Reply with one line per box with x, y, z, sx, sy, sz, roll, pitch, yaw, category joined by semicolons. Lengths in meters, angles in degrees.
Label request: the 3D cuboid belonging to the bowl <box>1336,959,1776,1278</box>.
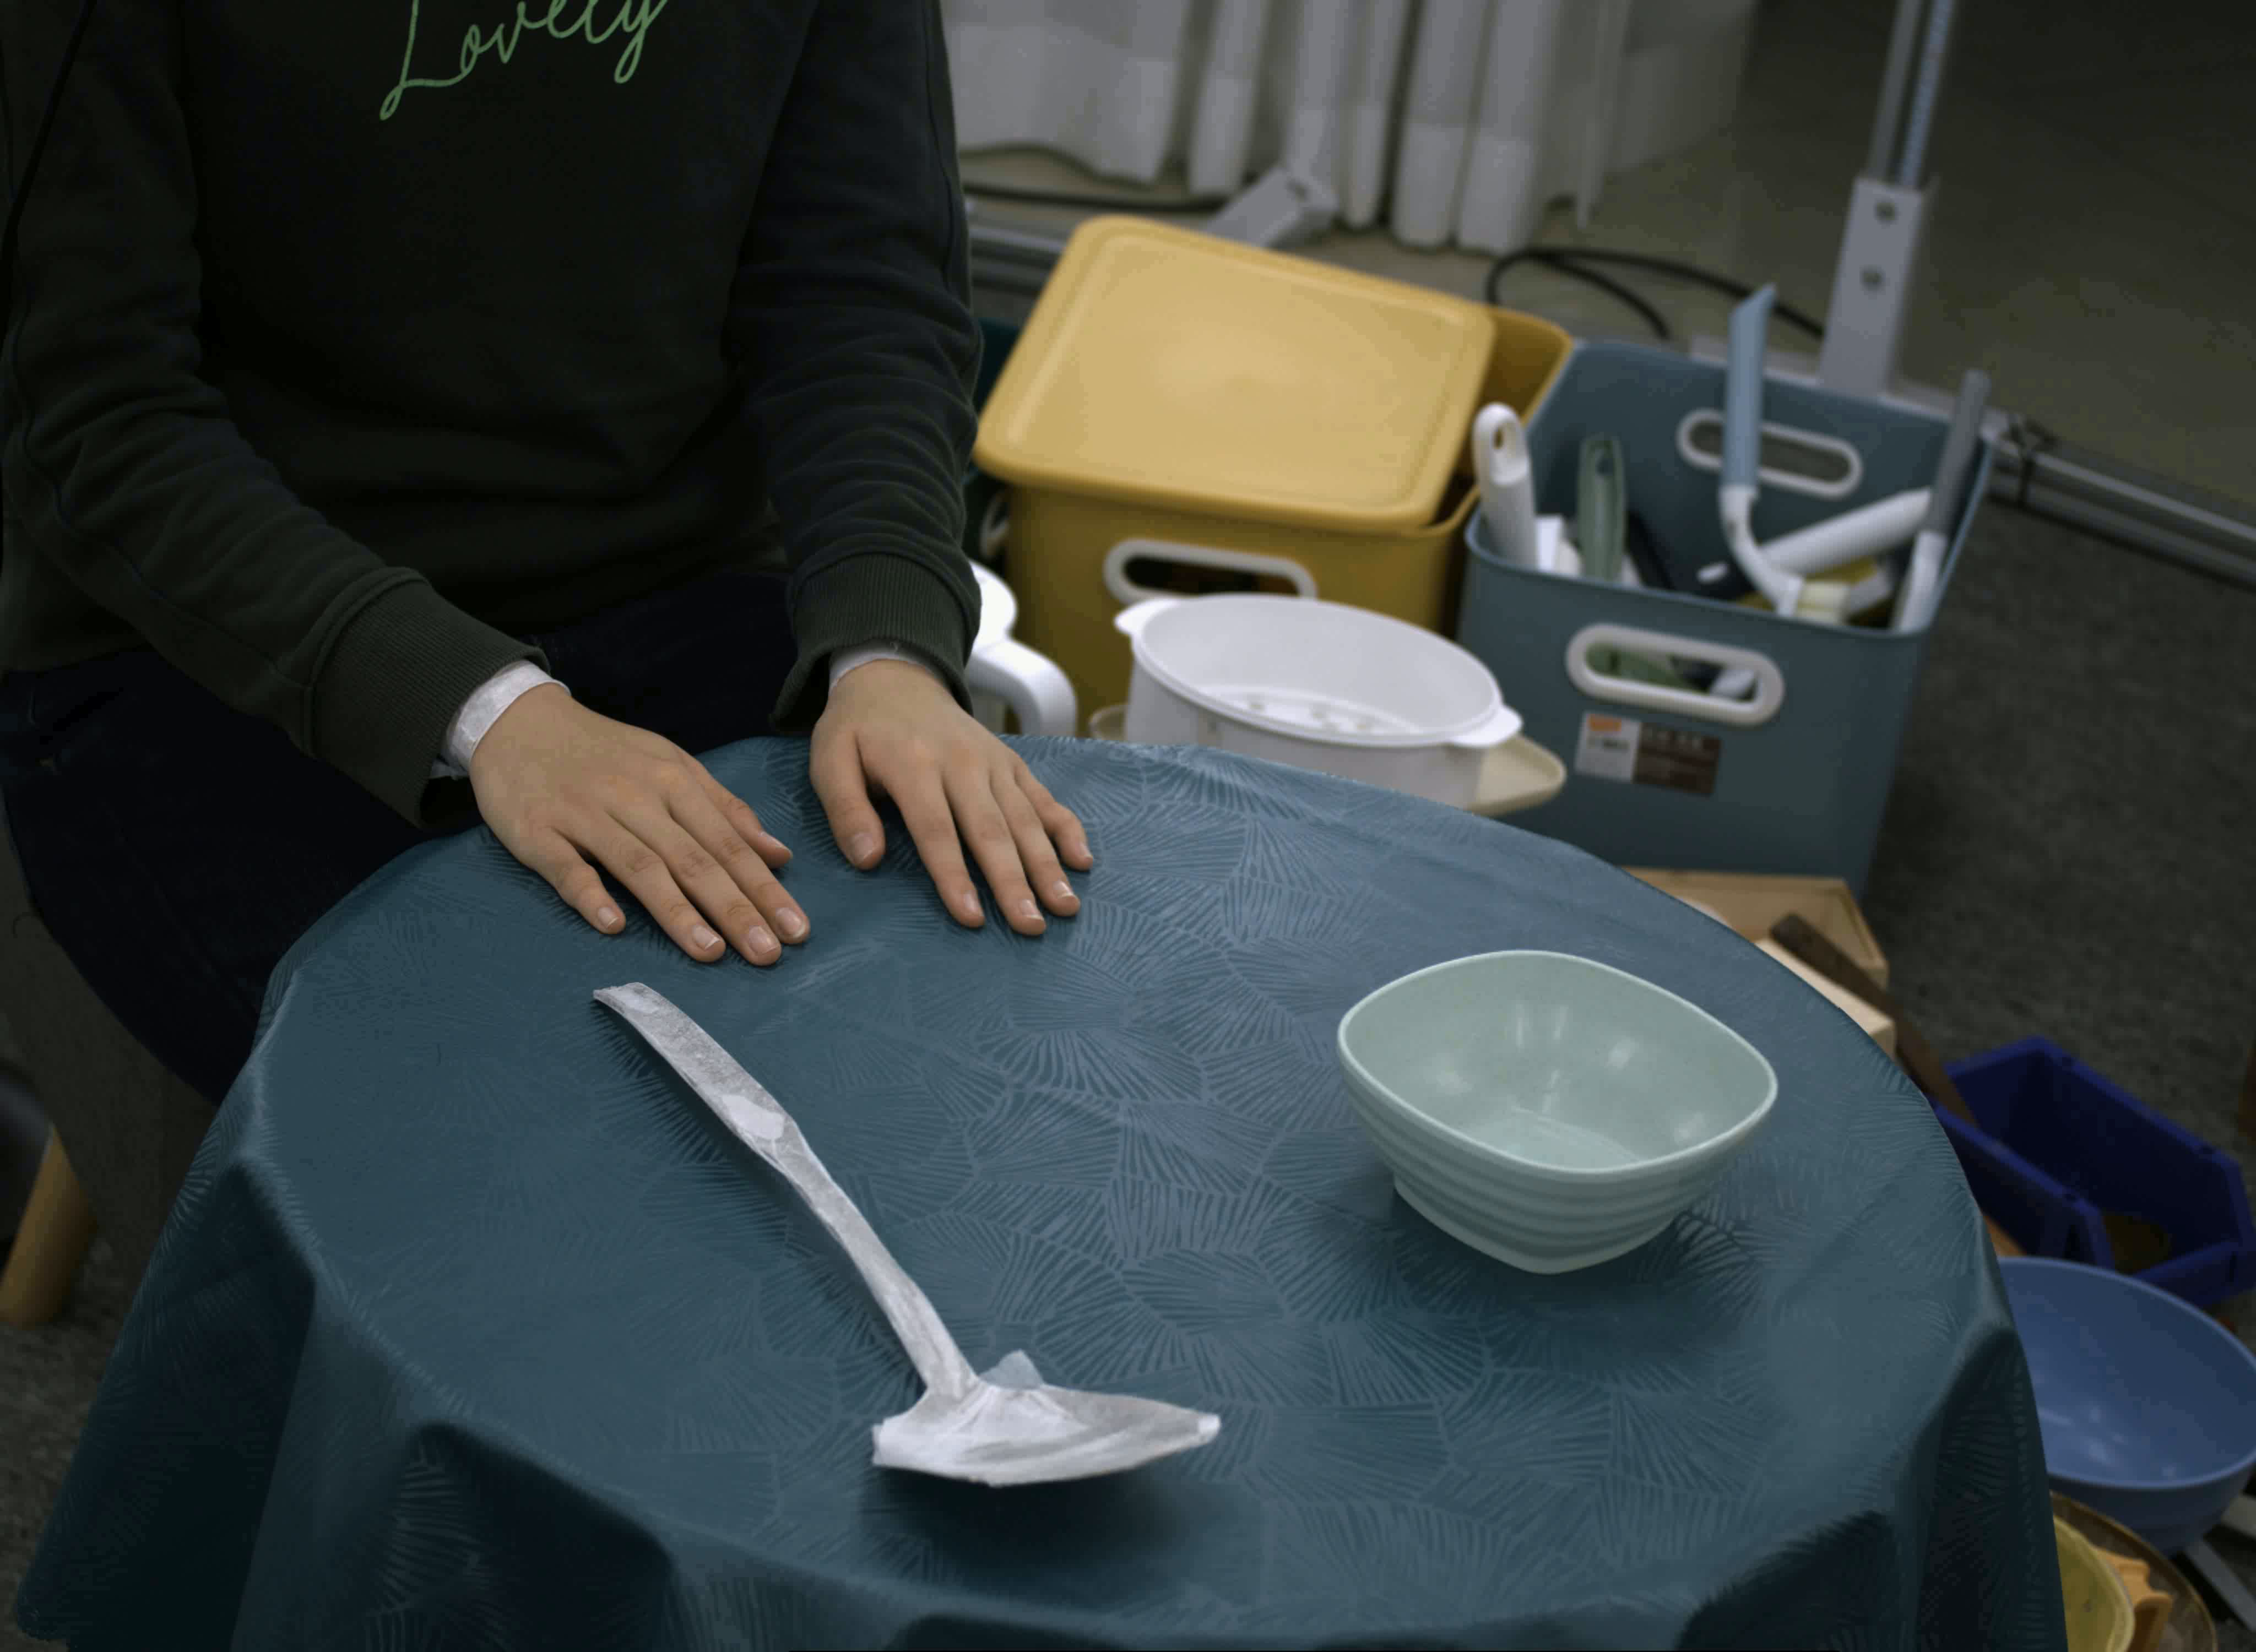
0.141;0.105;1.809;0.151;0.058;0.152;7;25;-4;bowl

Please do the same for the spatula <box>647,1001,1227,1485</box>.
-0.087;0.127;1.731;0.098;0.044;0.368;-9;31;-25;spatula
